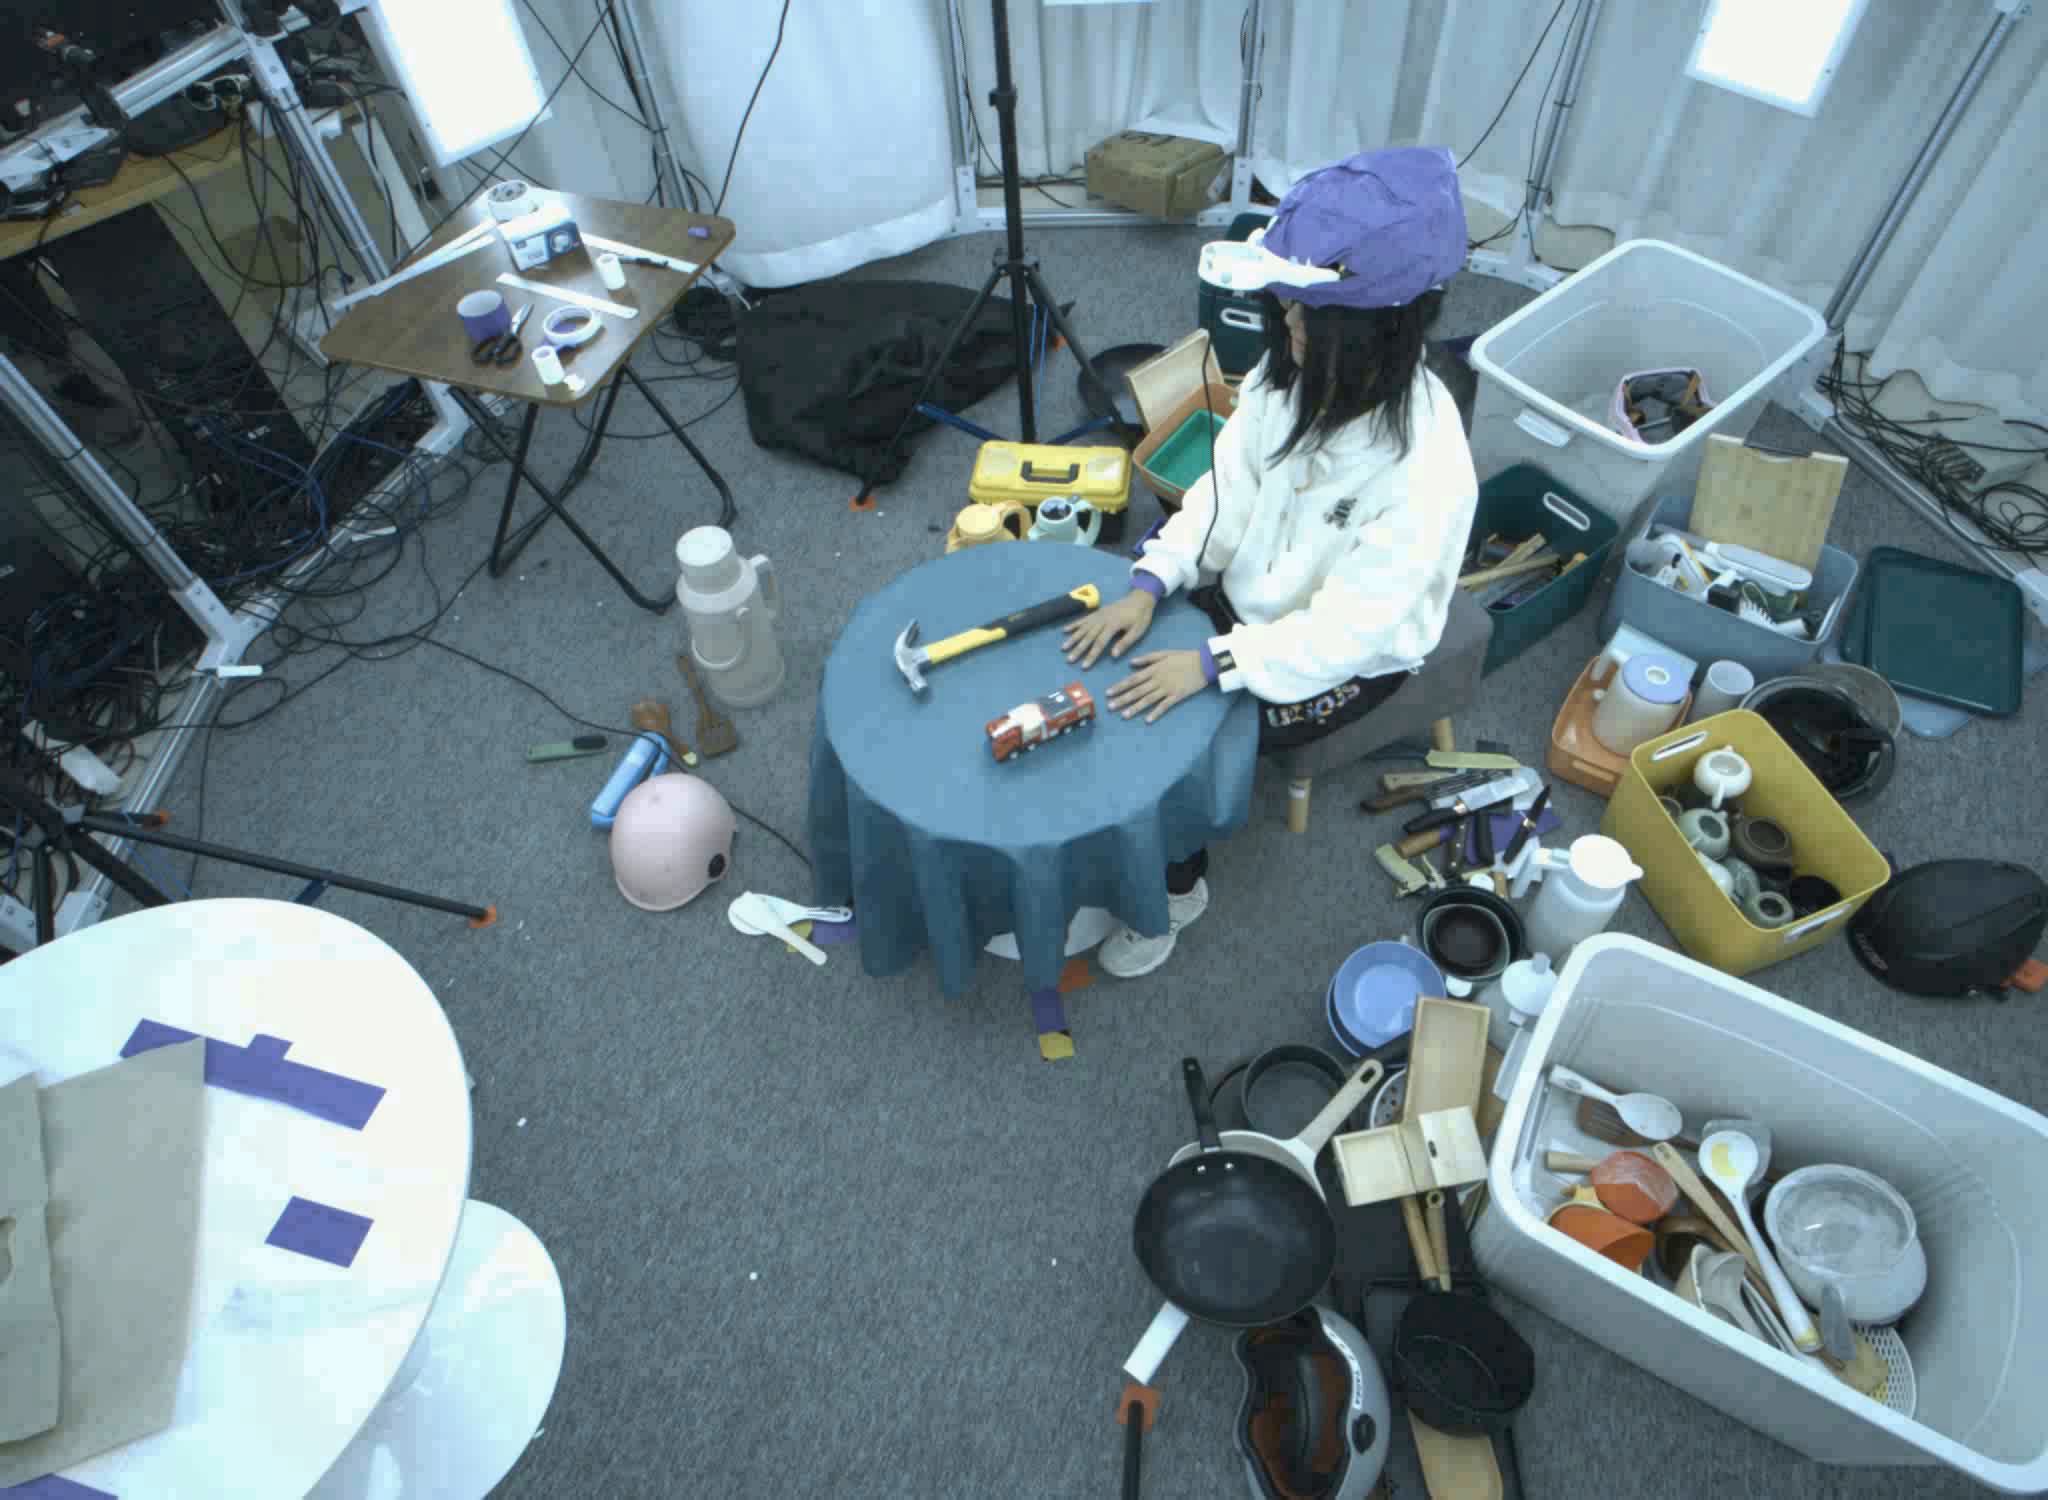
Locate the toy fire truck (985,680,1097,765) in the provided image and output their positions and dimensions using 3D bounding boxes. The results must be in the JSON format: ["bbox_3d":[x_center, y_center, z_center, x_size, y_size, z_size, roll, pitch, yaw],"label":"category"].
[{"bbox_3d":[0.023,-0.041,1.780,0.169,0.071,0.053,-25,57,-16],"label":"toy fire truck"}]

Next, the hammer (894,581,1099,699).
[{"bbox_3d":[-0.040,-0.190,1.900,0.341,0.032,0.129,-22,56,-12],"label":"hammer"}]
